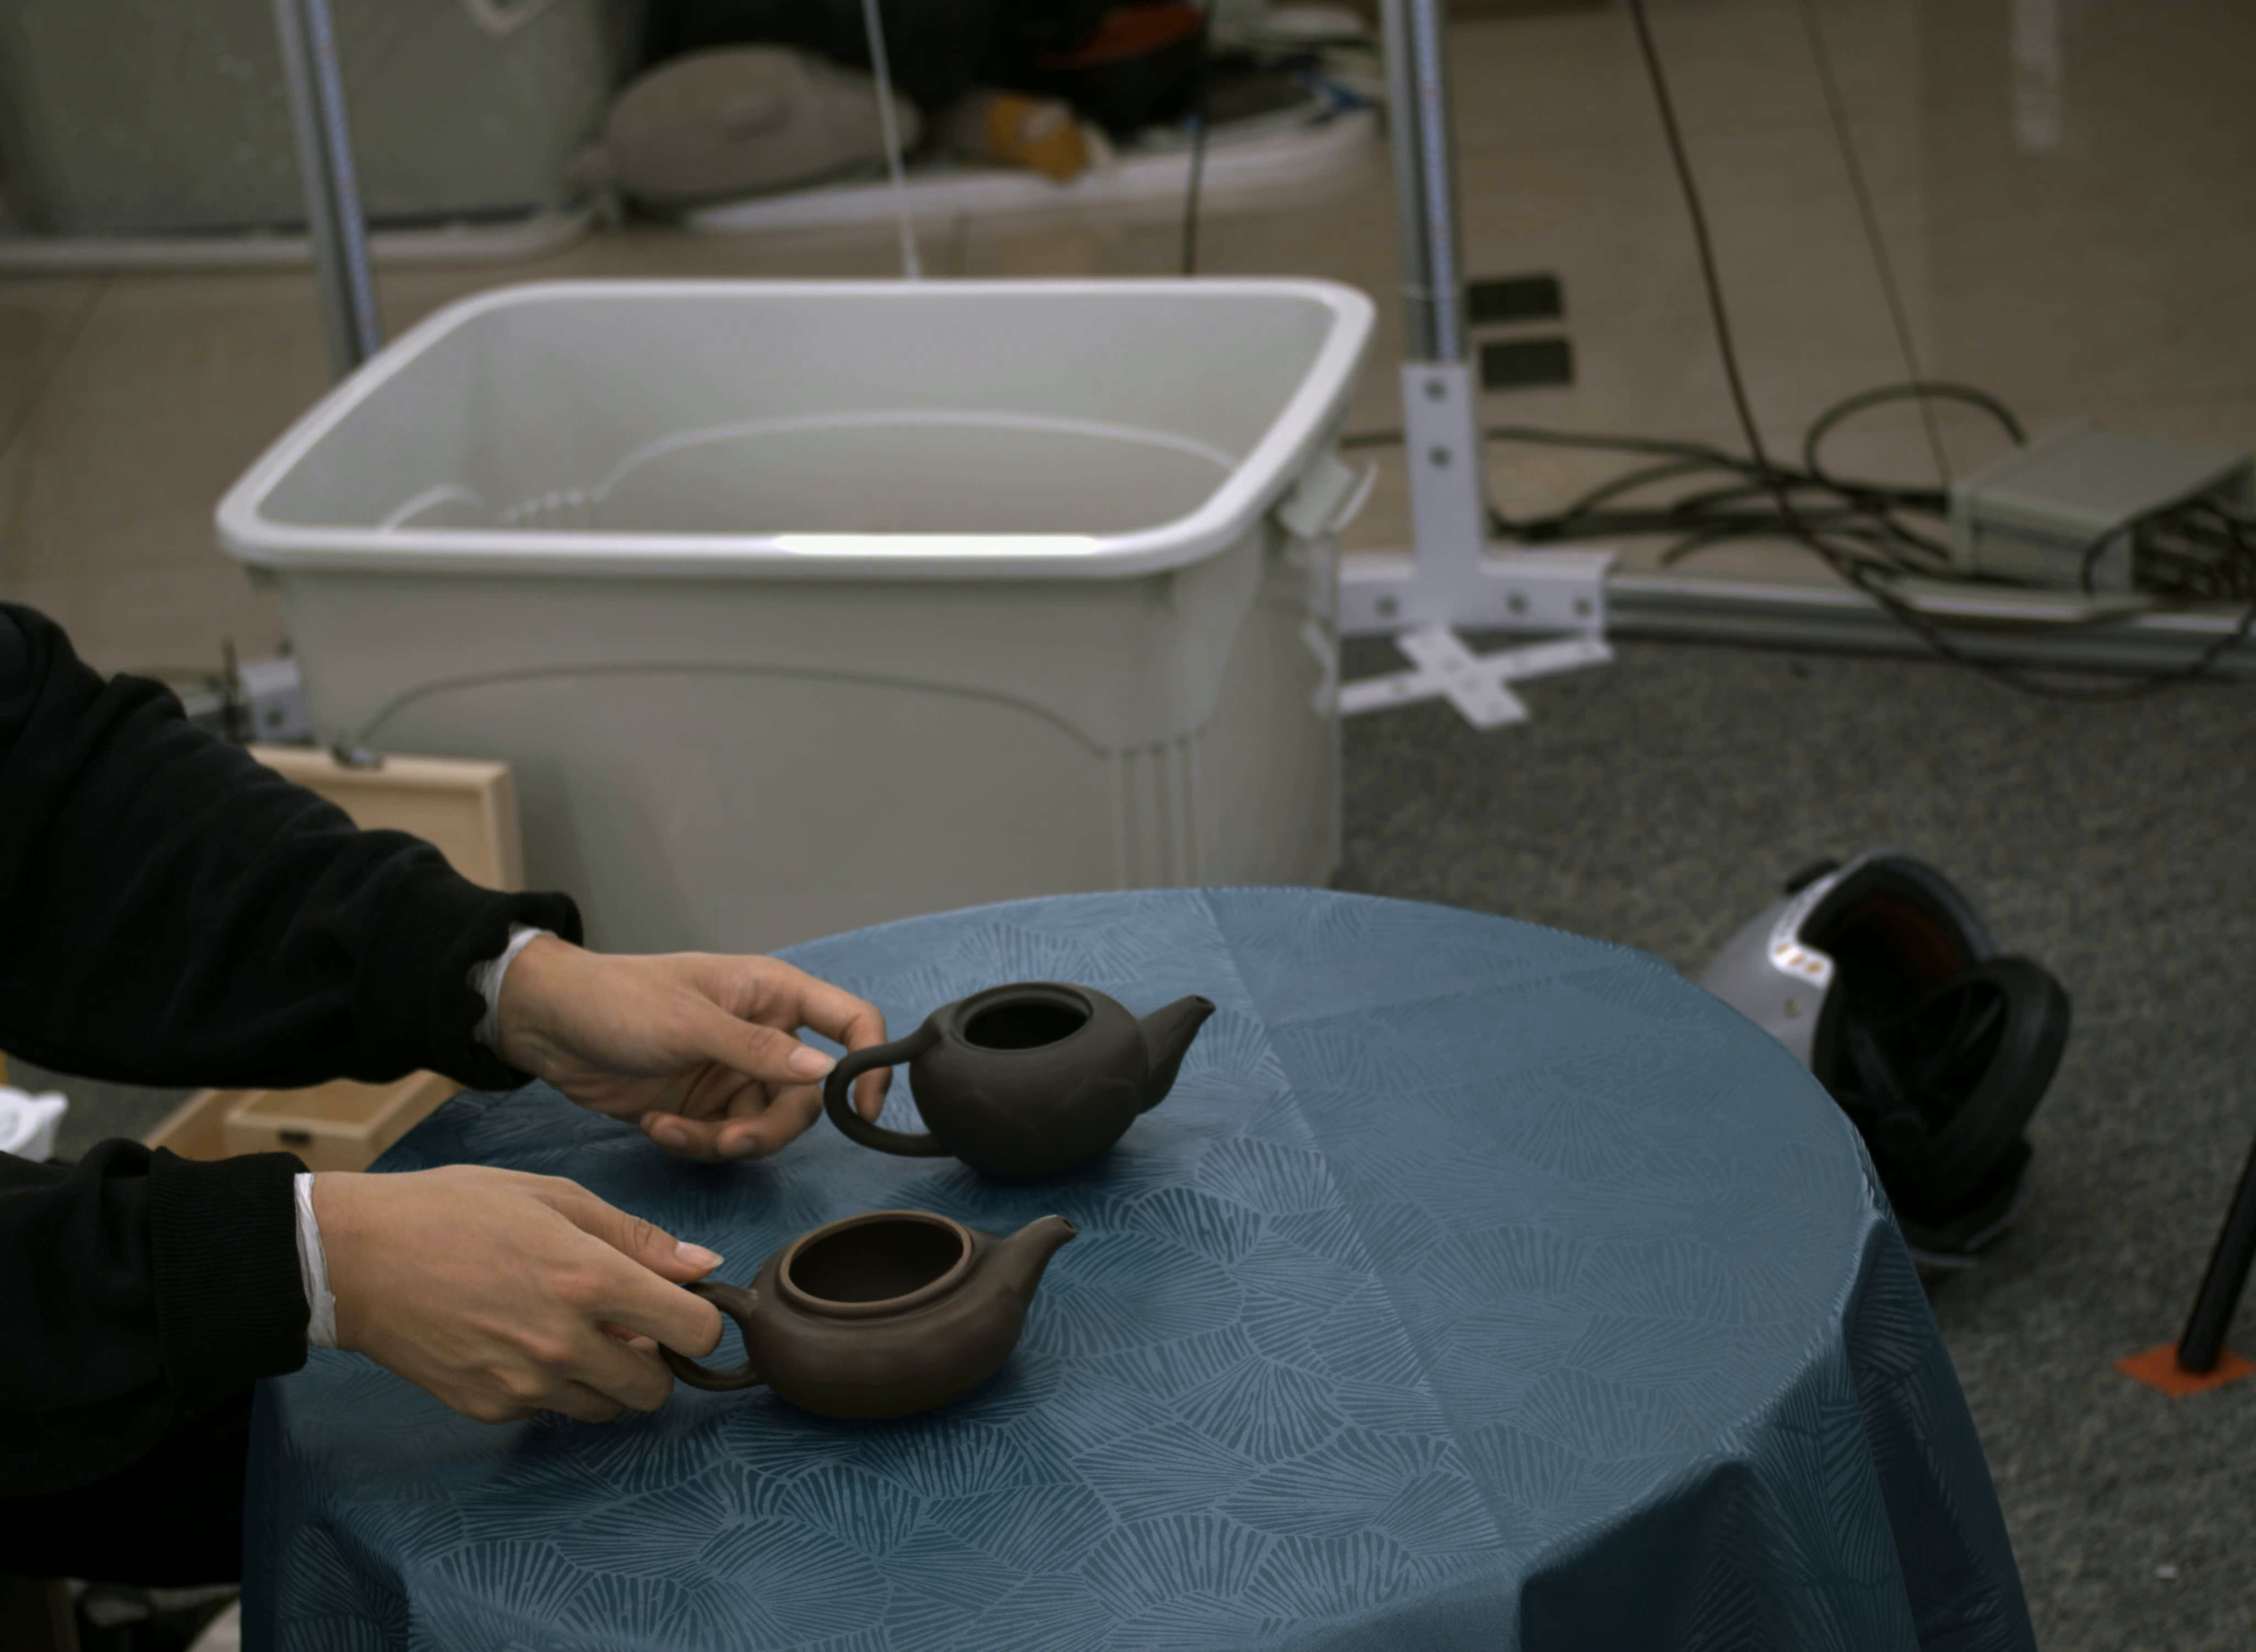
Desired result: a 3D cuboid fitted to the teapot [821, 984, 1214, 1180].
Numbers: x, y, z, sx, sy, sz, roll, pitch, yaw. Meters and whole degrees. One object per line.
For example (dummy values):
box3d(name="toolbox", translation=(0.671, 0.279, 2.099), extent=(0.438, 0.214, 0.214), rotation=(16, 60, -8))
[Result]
box3d(name="teapot", translation=(-0.041, 0.097, 2.174), extent=(0.154, 0.065, 0.091), rotation=(-8, 24, -5))

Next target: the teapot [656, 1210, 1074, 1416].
box3d(name="teapot", translation=(-0.093, 0.174, 2.032), extent=(0.153, 0.054, 0.101), rotation=(-10, 23, -9))
